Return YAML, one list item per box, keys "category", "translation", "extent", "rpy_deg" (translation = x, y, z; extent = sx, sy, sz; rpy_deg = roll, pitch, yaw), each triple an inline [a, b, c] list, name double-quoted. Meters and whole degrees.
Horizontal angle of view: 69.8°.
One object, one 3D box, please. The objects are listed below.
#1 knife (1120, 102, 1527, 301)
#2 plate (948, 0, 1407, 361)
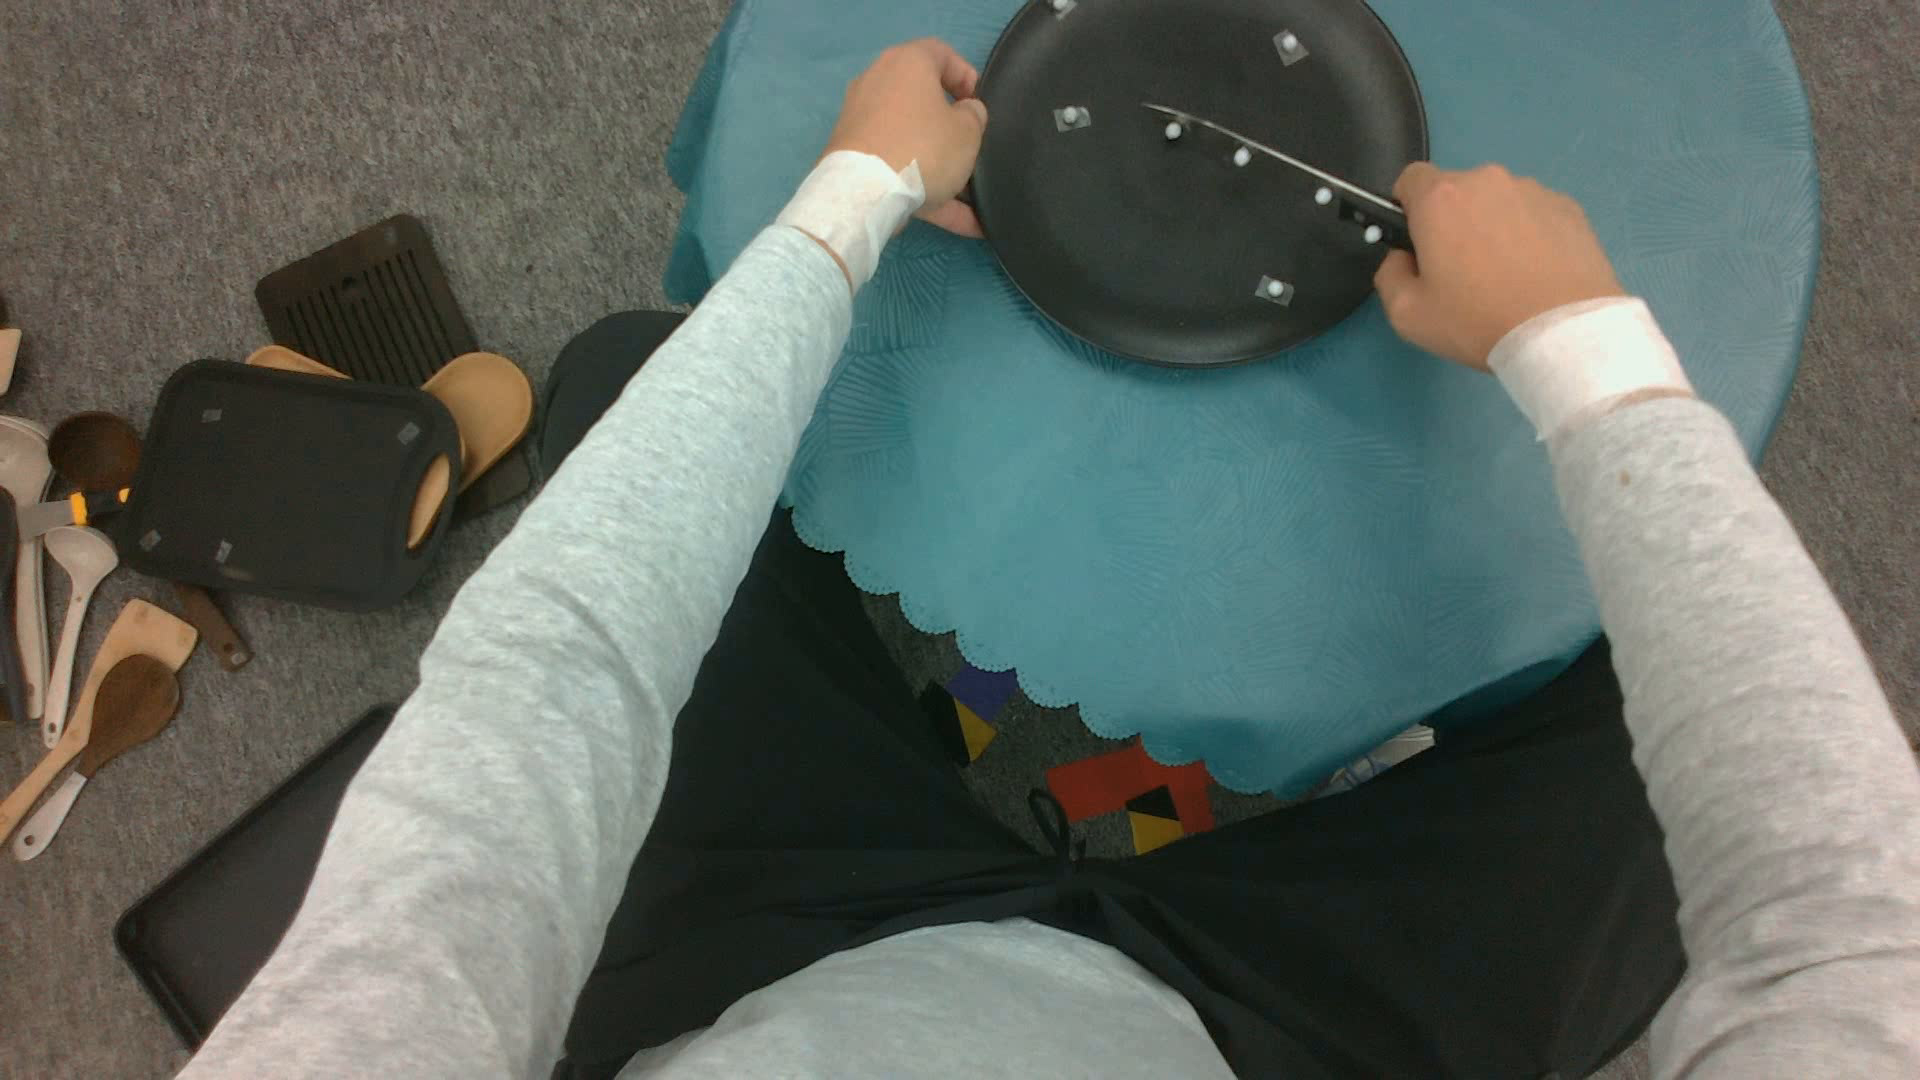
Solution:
- category: "knife"
  translation: [0.177, -0.180, 0.699]
  extent: [0.238, 0.024, 0.016]
  rpy_deg: [34, 77, 25]
- category: "plate"
  translation: [0.115, -0.211, 0.740]
  extent: [0.244, 0.023, 0.245]
  rpy_deg: [0, 80, 1]
